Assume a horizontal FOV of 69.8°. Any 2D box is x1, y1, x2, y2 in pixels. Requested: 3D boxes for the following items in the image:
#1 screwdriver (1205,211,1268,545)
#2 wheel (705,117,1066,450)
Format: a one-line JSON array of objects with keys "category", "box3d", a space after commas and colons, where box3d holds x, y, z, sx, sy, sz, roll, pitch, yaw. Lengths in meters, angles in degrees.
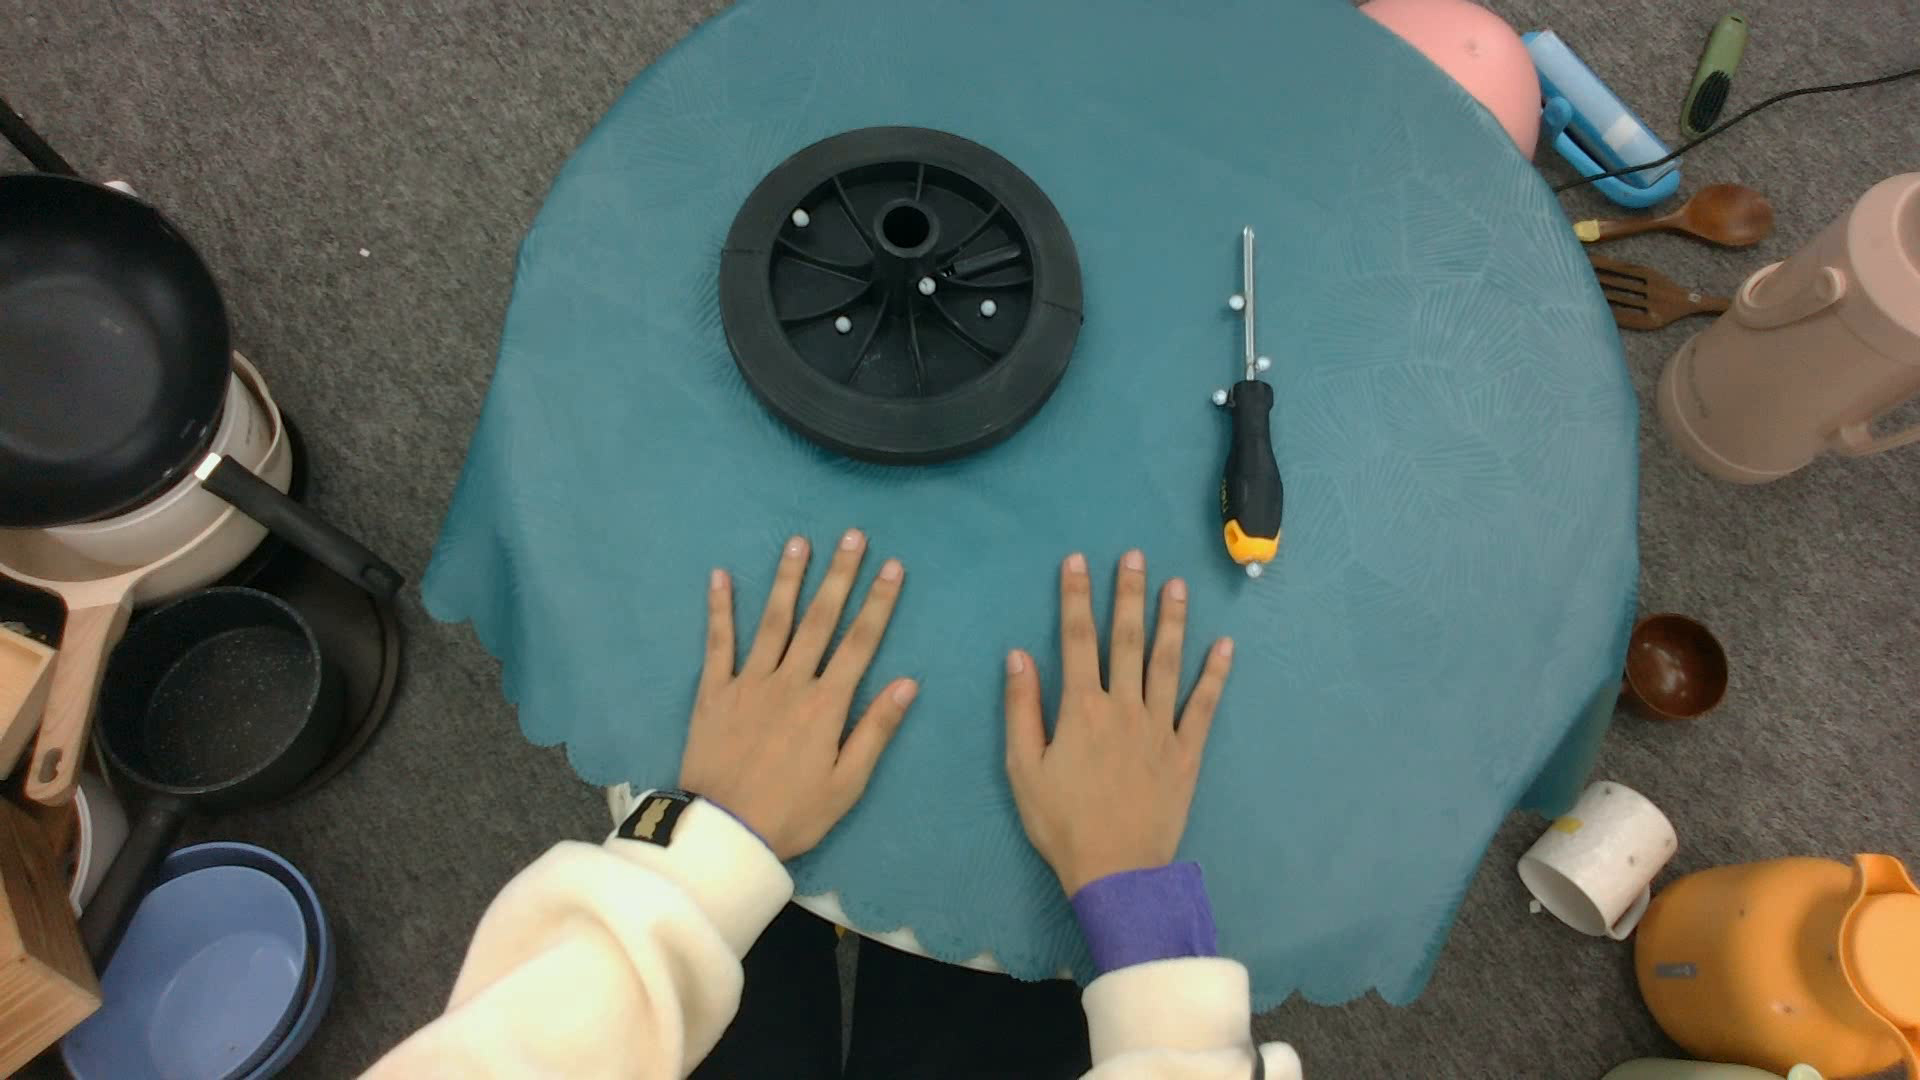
[{"category": "screwdriver", "box3d": [0.140, -0.091, 0.717, 0.031, 0.031, 0.197, 2, 69, -3]}, {"category": "wheel", "box3d": [-0.035, -0.143, 0.695, 0.187, 0.079, 0.190, 43, 71, 9]}]
